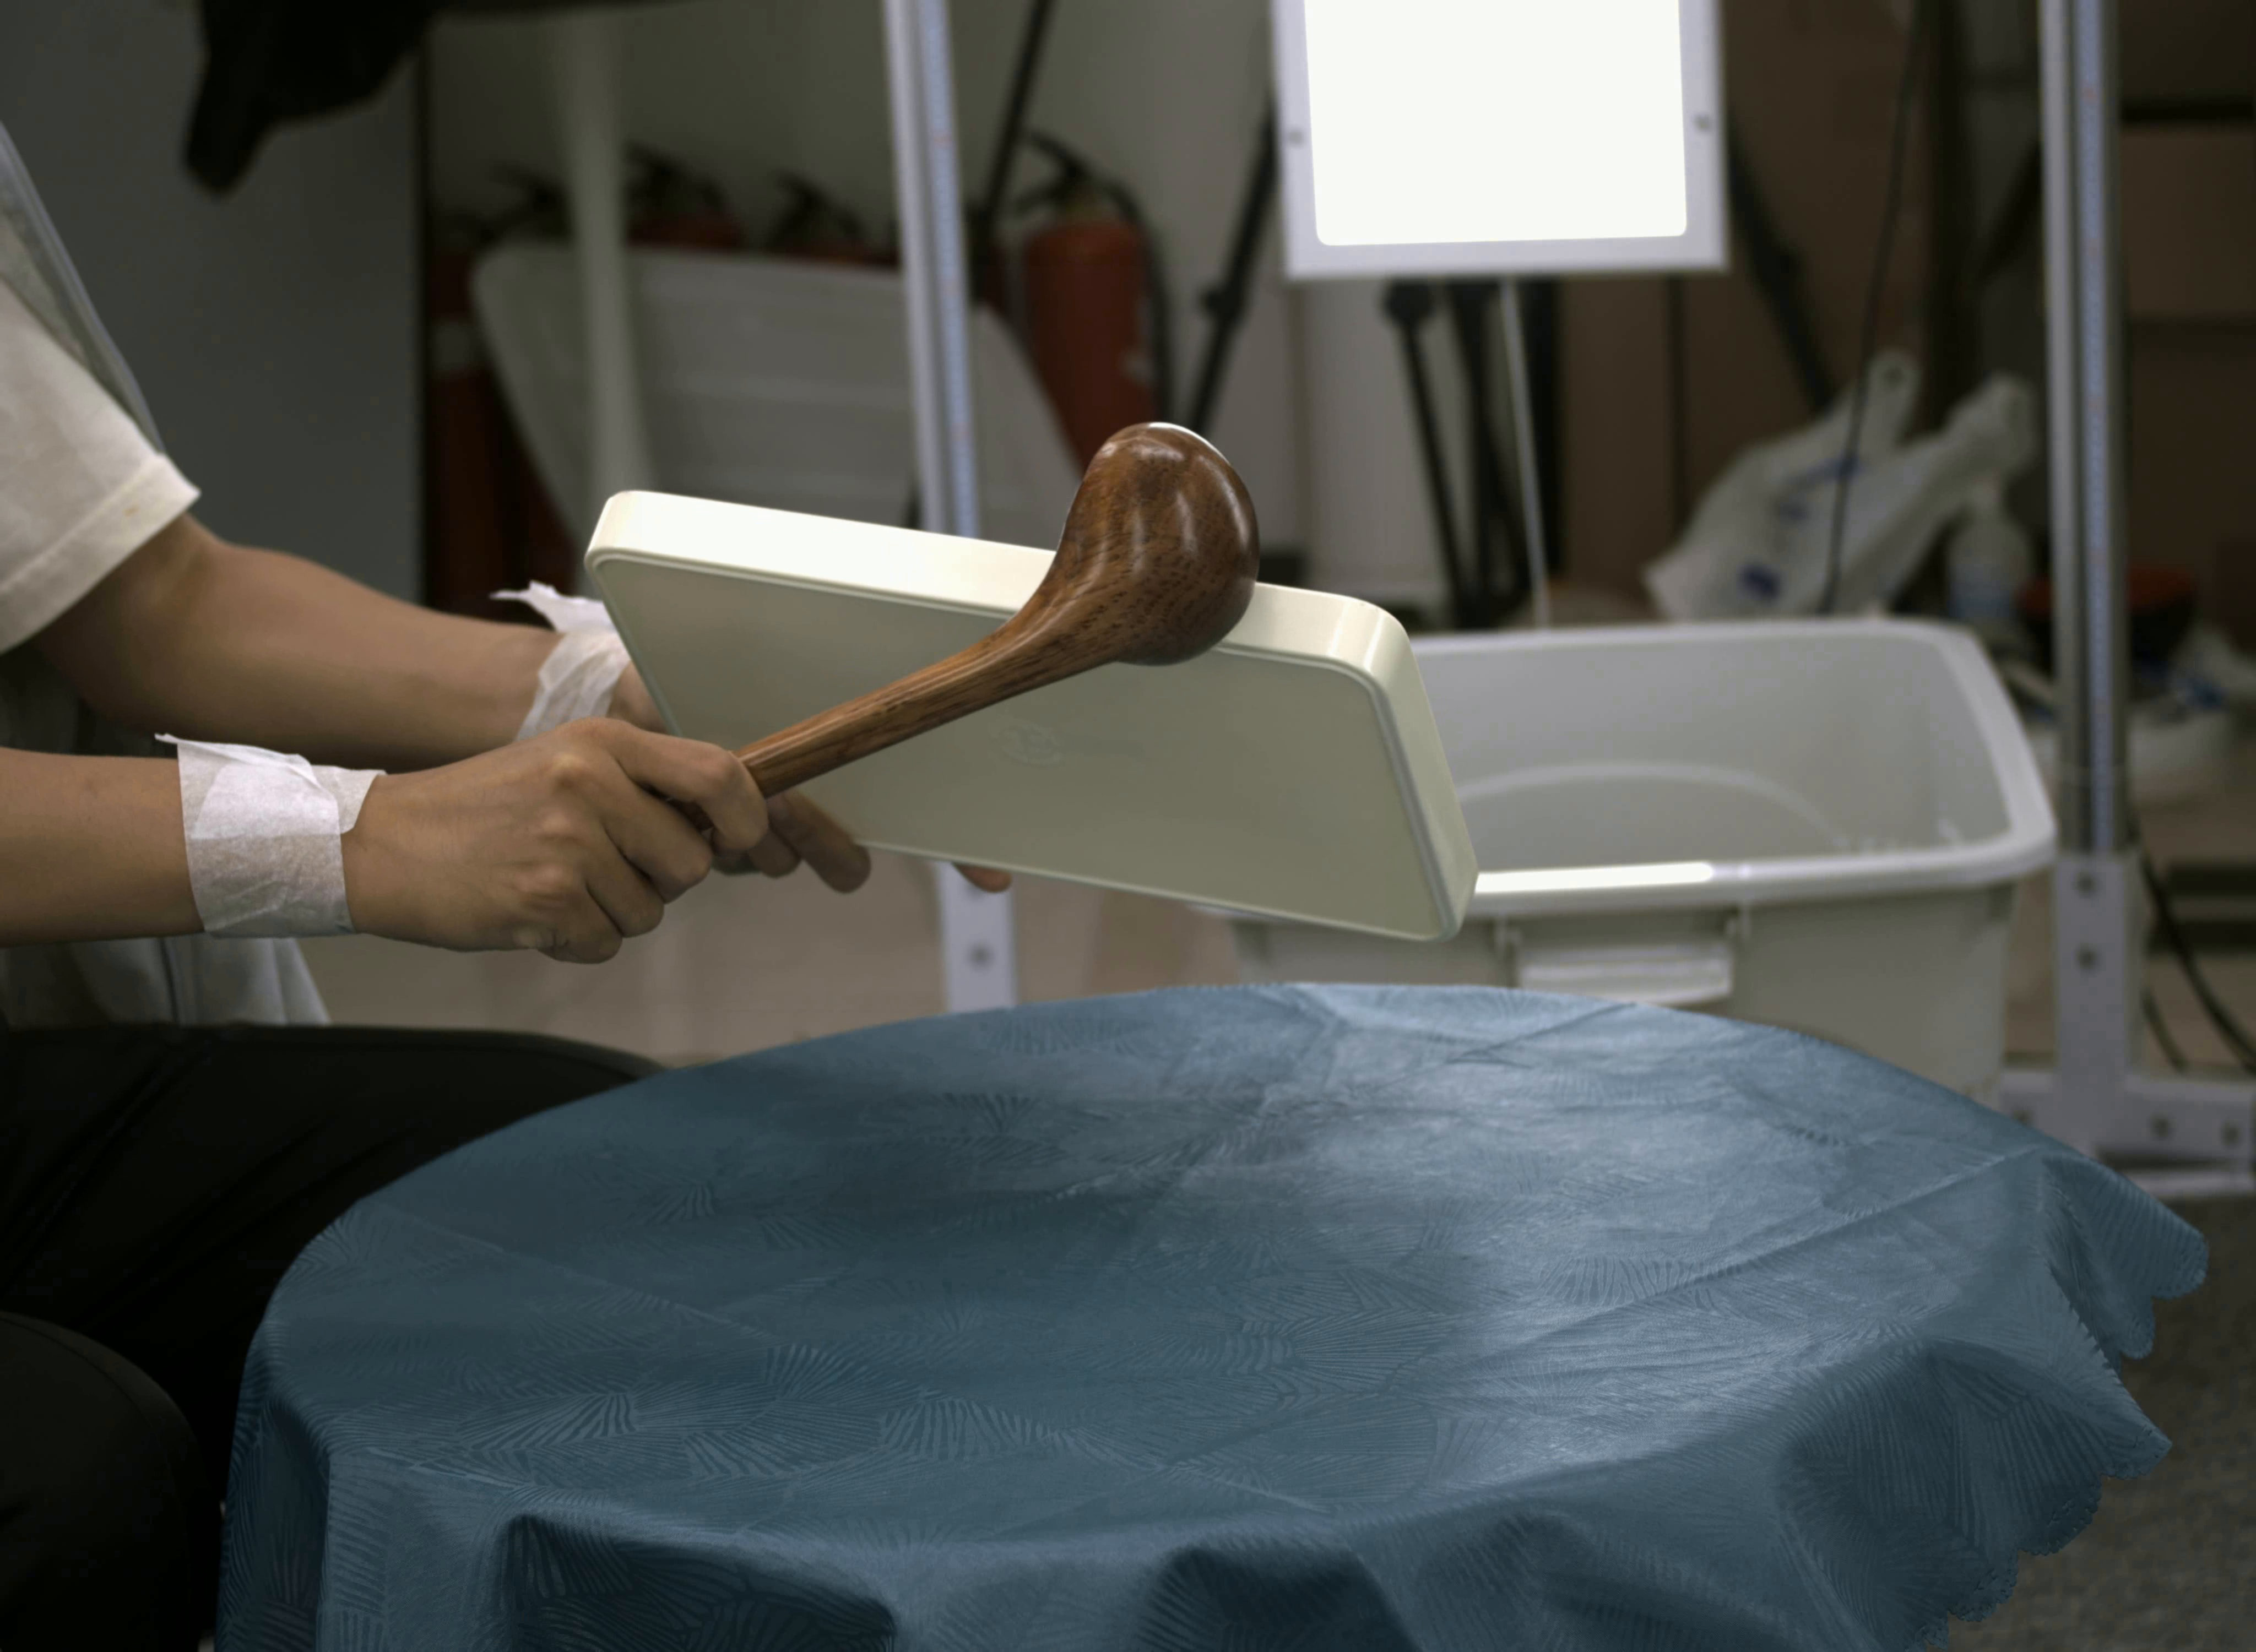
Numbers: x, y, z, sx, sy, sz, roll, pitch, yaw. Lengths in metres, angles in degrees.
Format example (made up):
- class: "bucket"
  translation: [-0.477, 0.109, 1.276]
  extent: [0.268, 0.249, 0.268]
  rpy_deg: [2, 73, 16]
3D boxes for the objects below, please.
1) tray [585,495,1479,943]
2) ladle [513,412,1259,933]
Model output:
- class: "tray"
  translation: [-0.033, -0.036, 1.948]
  extent: [0.304, 0.190, 0.027]
  rpy_deg: [9, 61, 22]
- class: "ladle"
  translation: [-0.083, -0.049, 1.826]
  extent: [0.276, 0.081, 0.076]
  rpy_deg: [-26, 23, 11]
